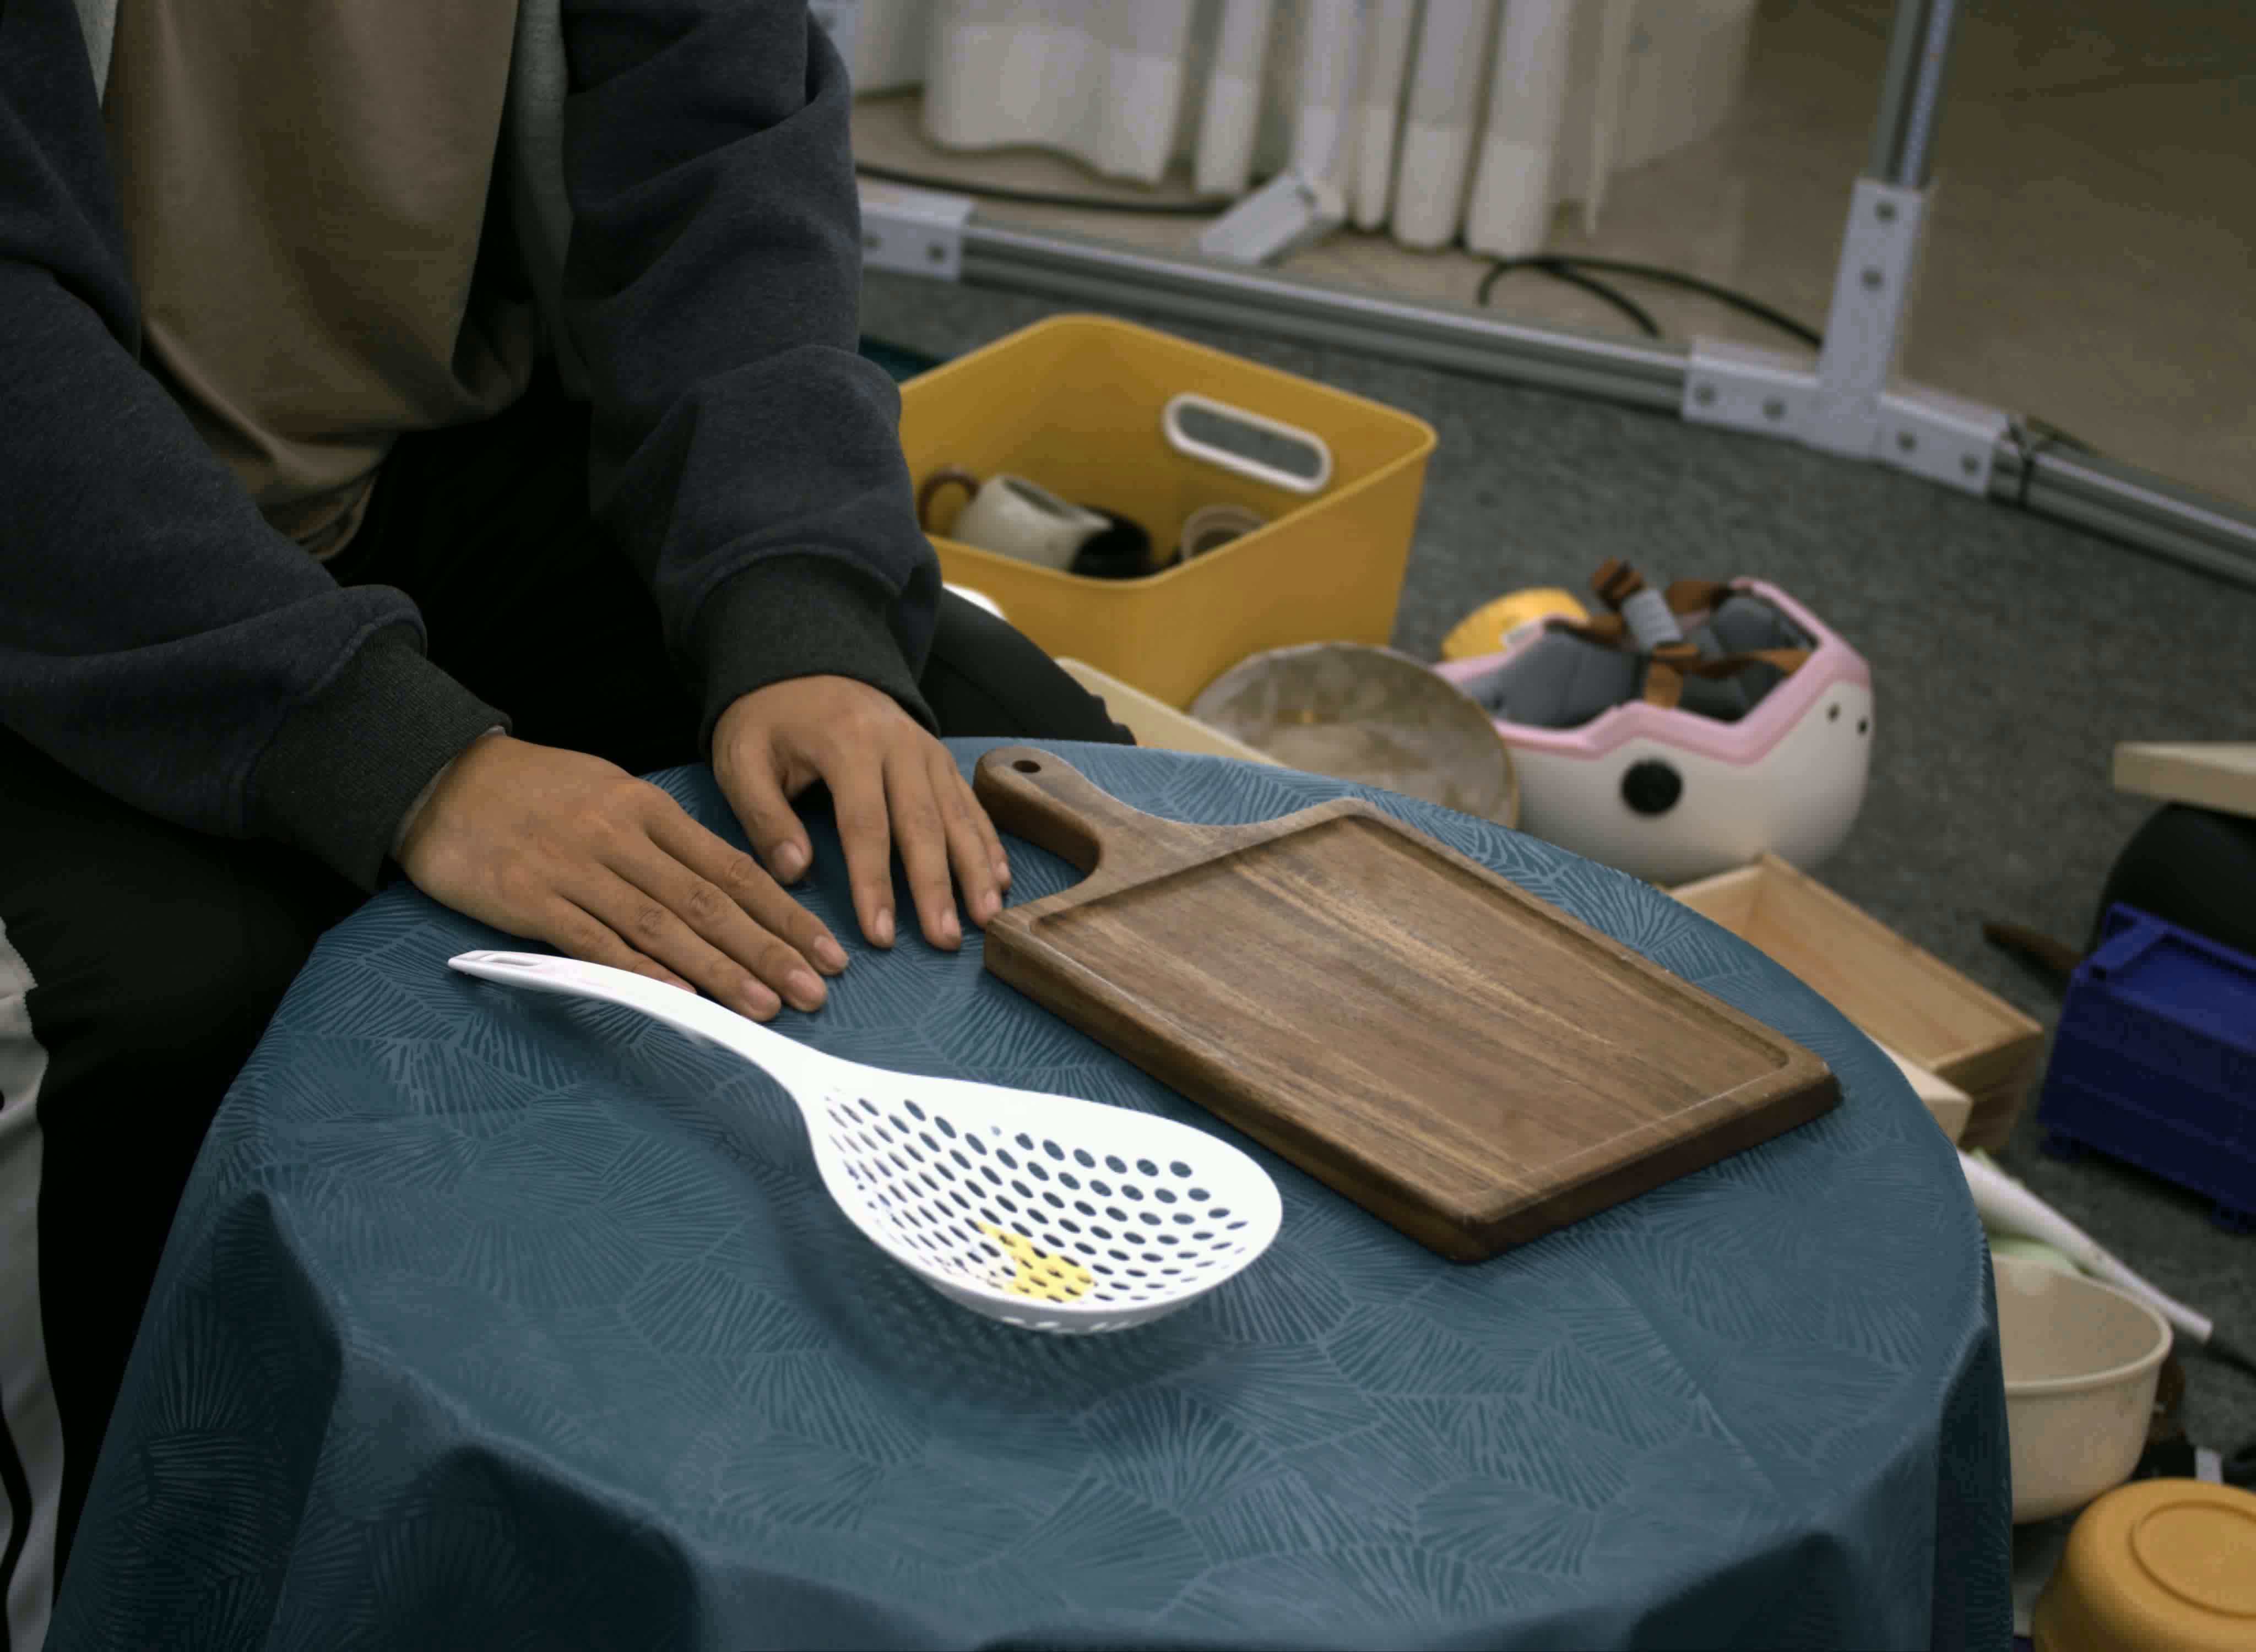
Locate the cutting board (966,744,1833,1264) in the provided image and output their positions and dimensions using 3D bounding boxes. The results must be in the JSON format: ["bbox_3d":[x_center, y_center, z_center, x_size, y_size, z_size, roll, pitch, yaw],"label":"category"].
[{"bbox_3d":[0.066,0.048,1.943,0.200,0.023,0.355,-18,36,-40],"label":"cutting board"}]

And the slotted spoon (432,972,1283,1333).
[{"bbox_3d":[-0.104,0.096,1.788,0.350,0.050,0.136,26,35,33],"label":"slotted spoon"}]
